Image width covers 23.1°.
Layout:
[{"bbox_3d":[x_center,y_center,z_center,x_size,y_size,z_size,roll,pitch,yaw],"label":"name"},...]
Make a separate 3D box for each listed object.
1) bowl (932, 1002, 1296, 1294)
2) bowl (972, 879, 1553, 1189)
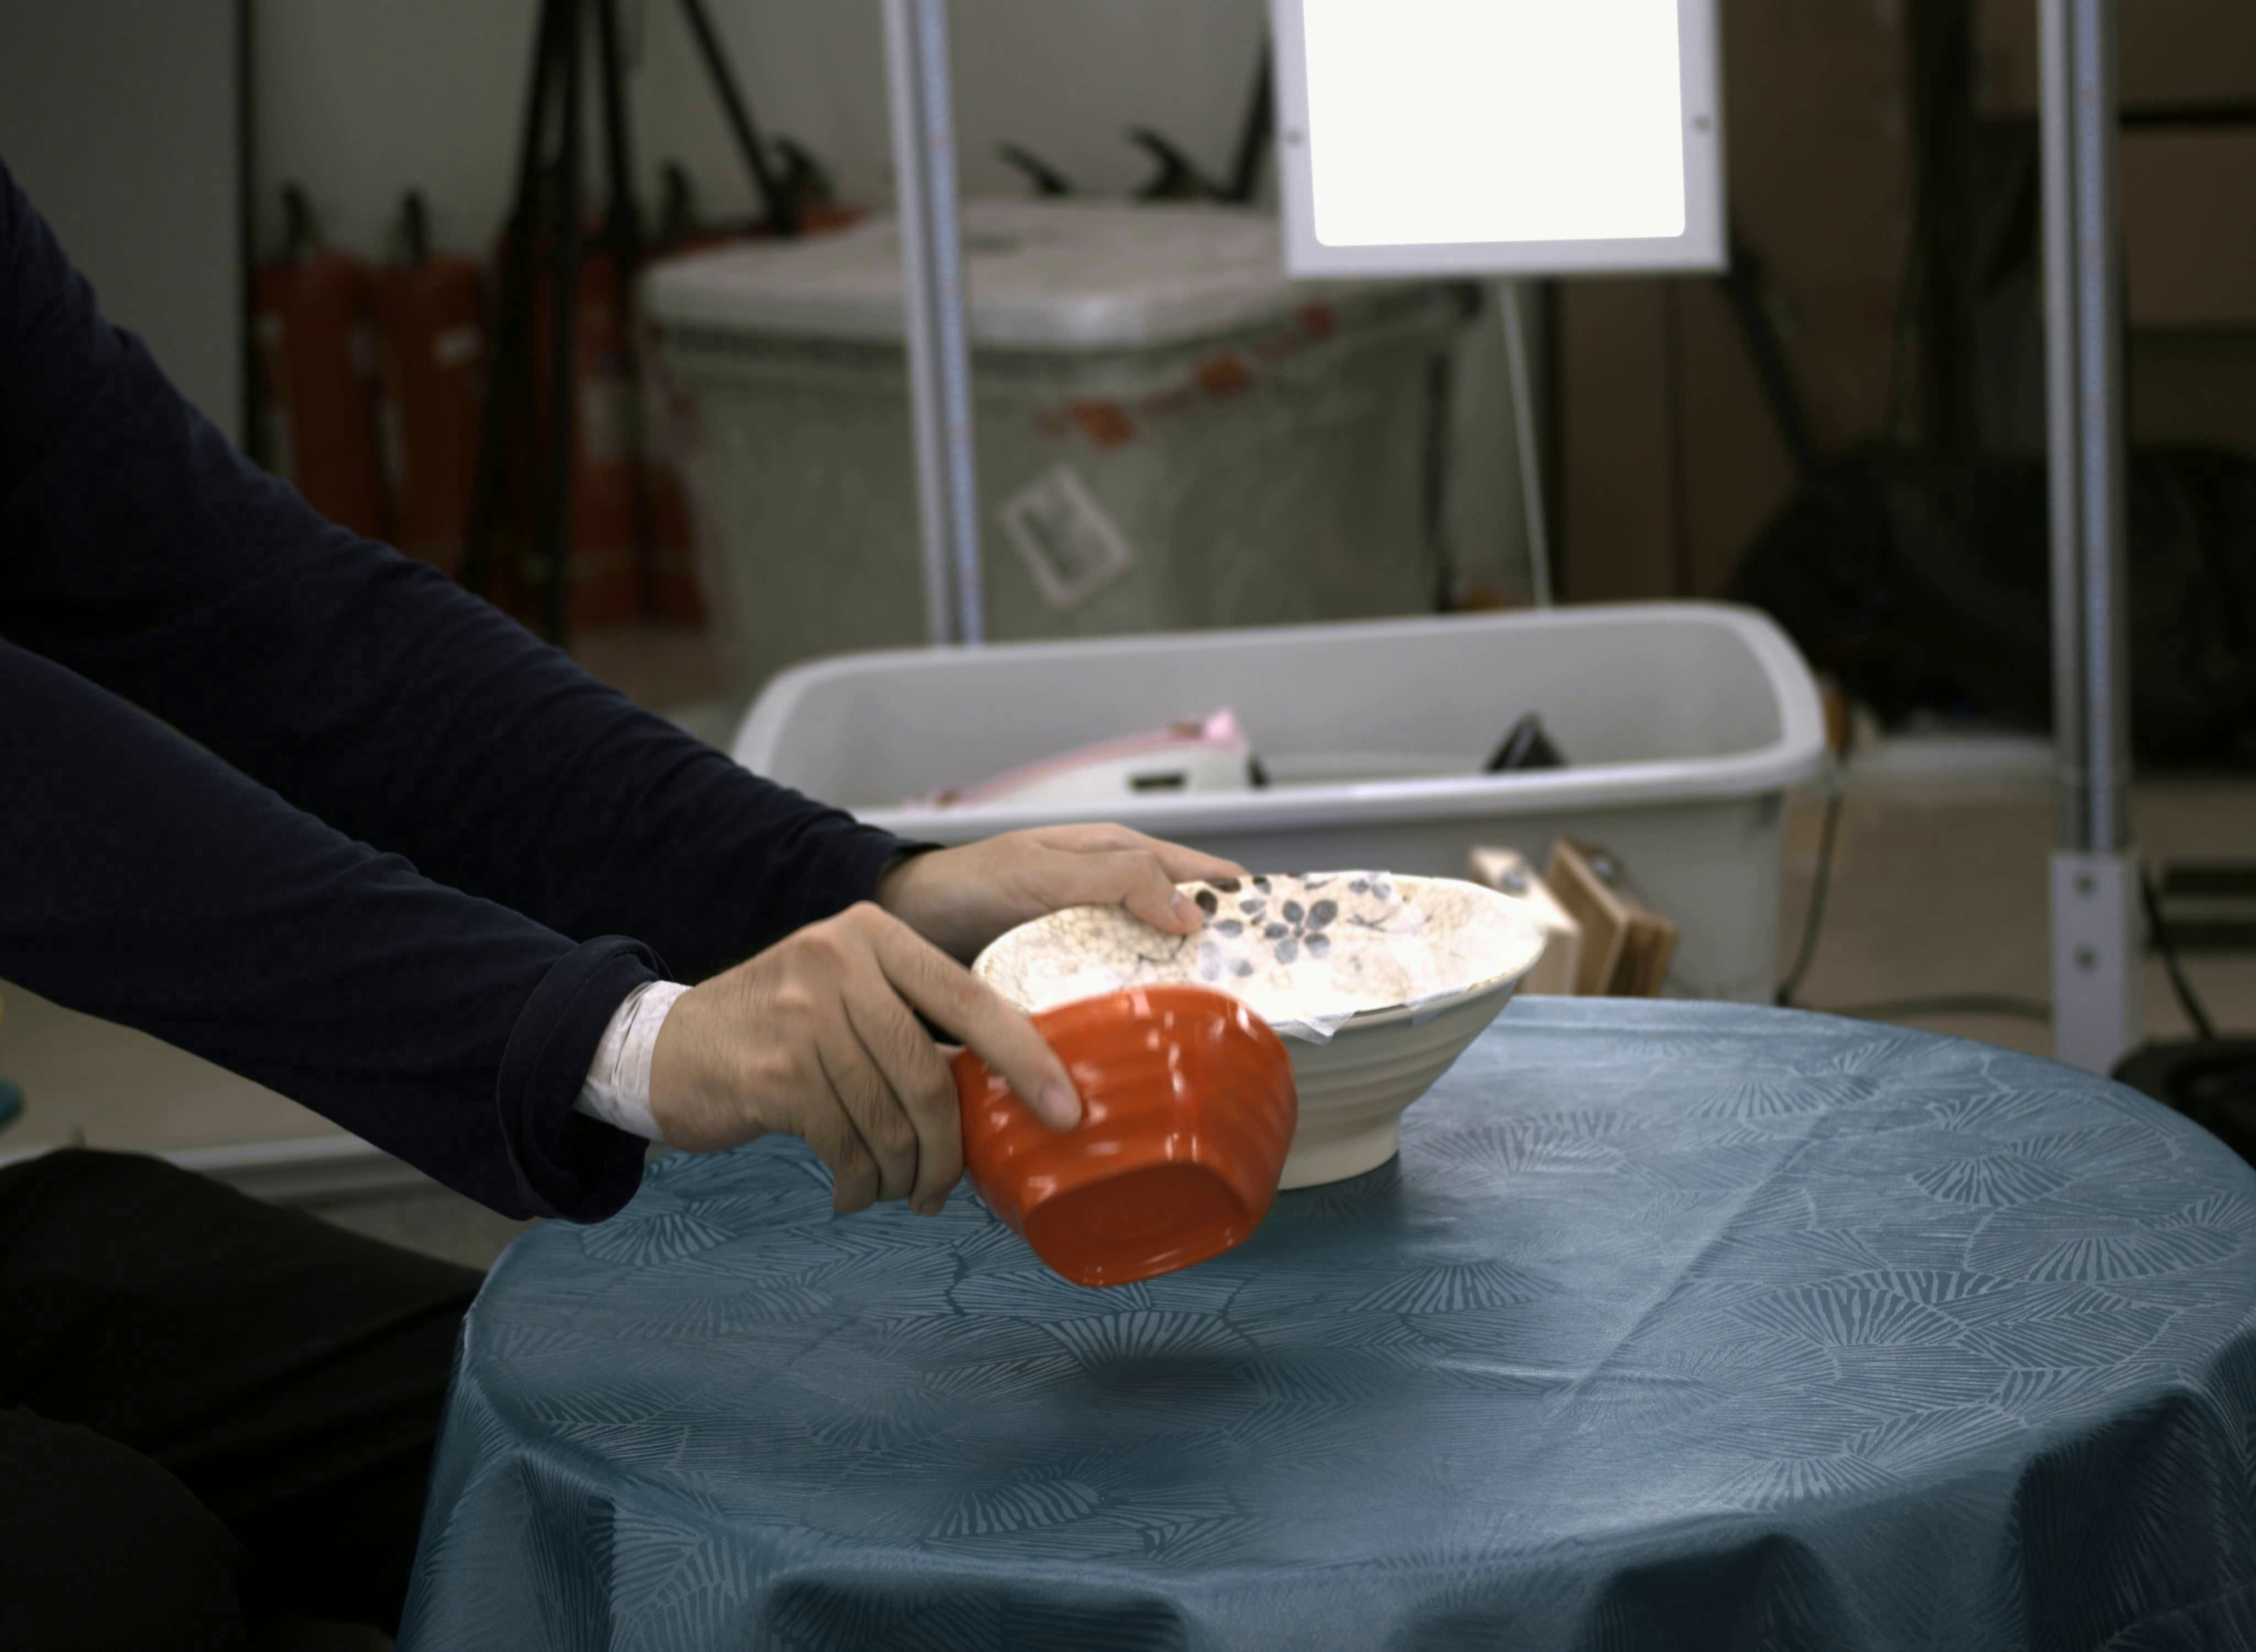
[{"bbox_3d":[-0.001,0.105,1.696,0.118,0.051,0.119,-5,-30,-5],"label":"bowl"},{"bbox_3d":[0.050,0.079,1.921,0.203,0.078,0.204,-5,13,0],"label":"bowl"}]
